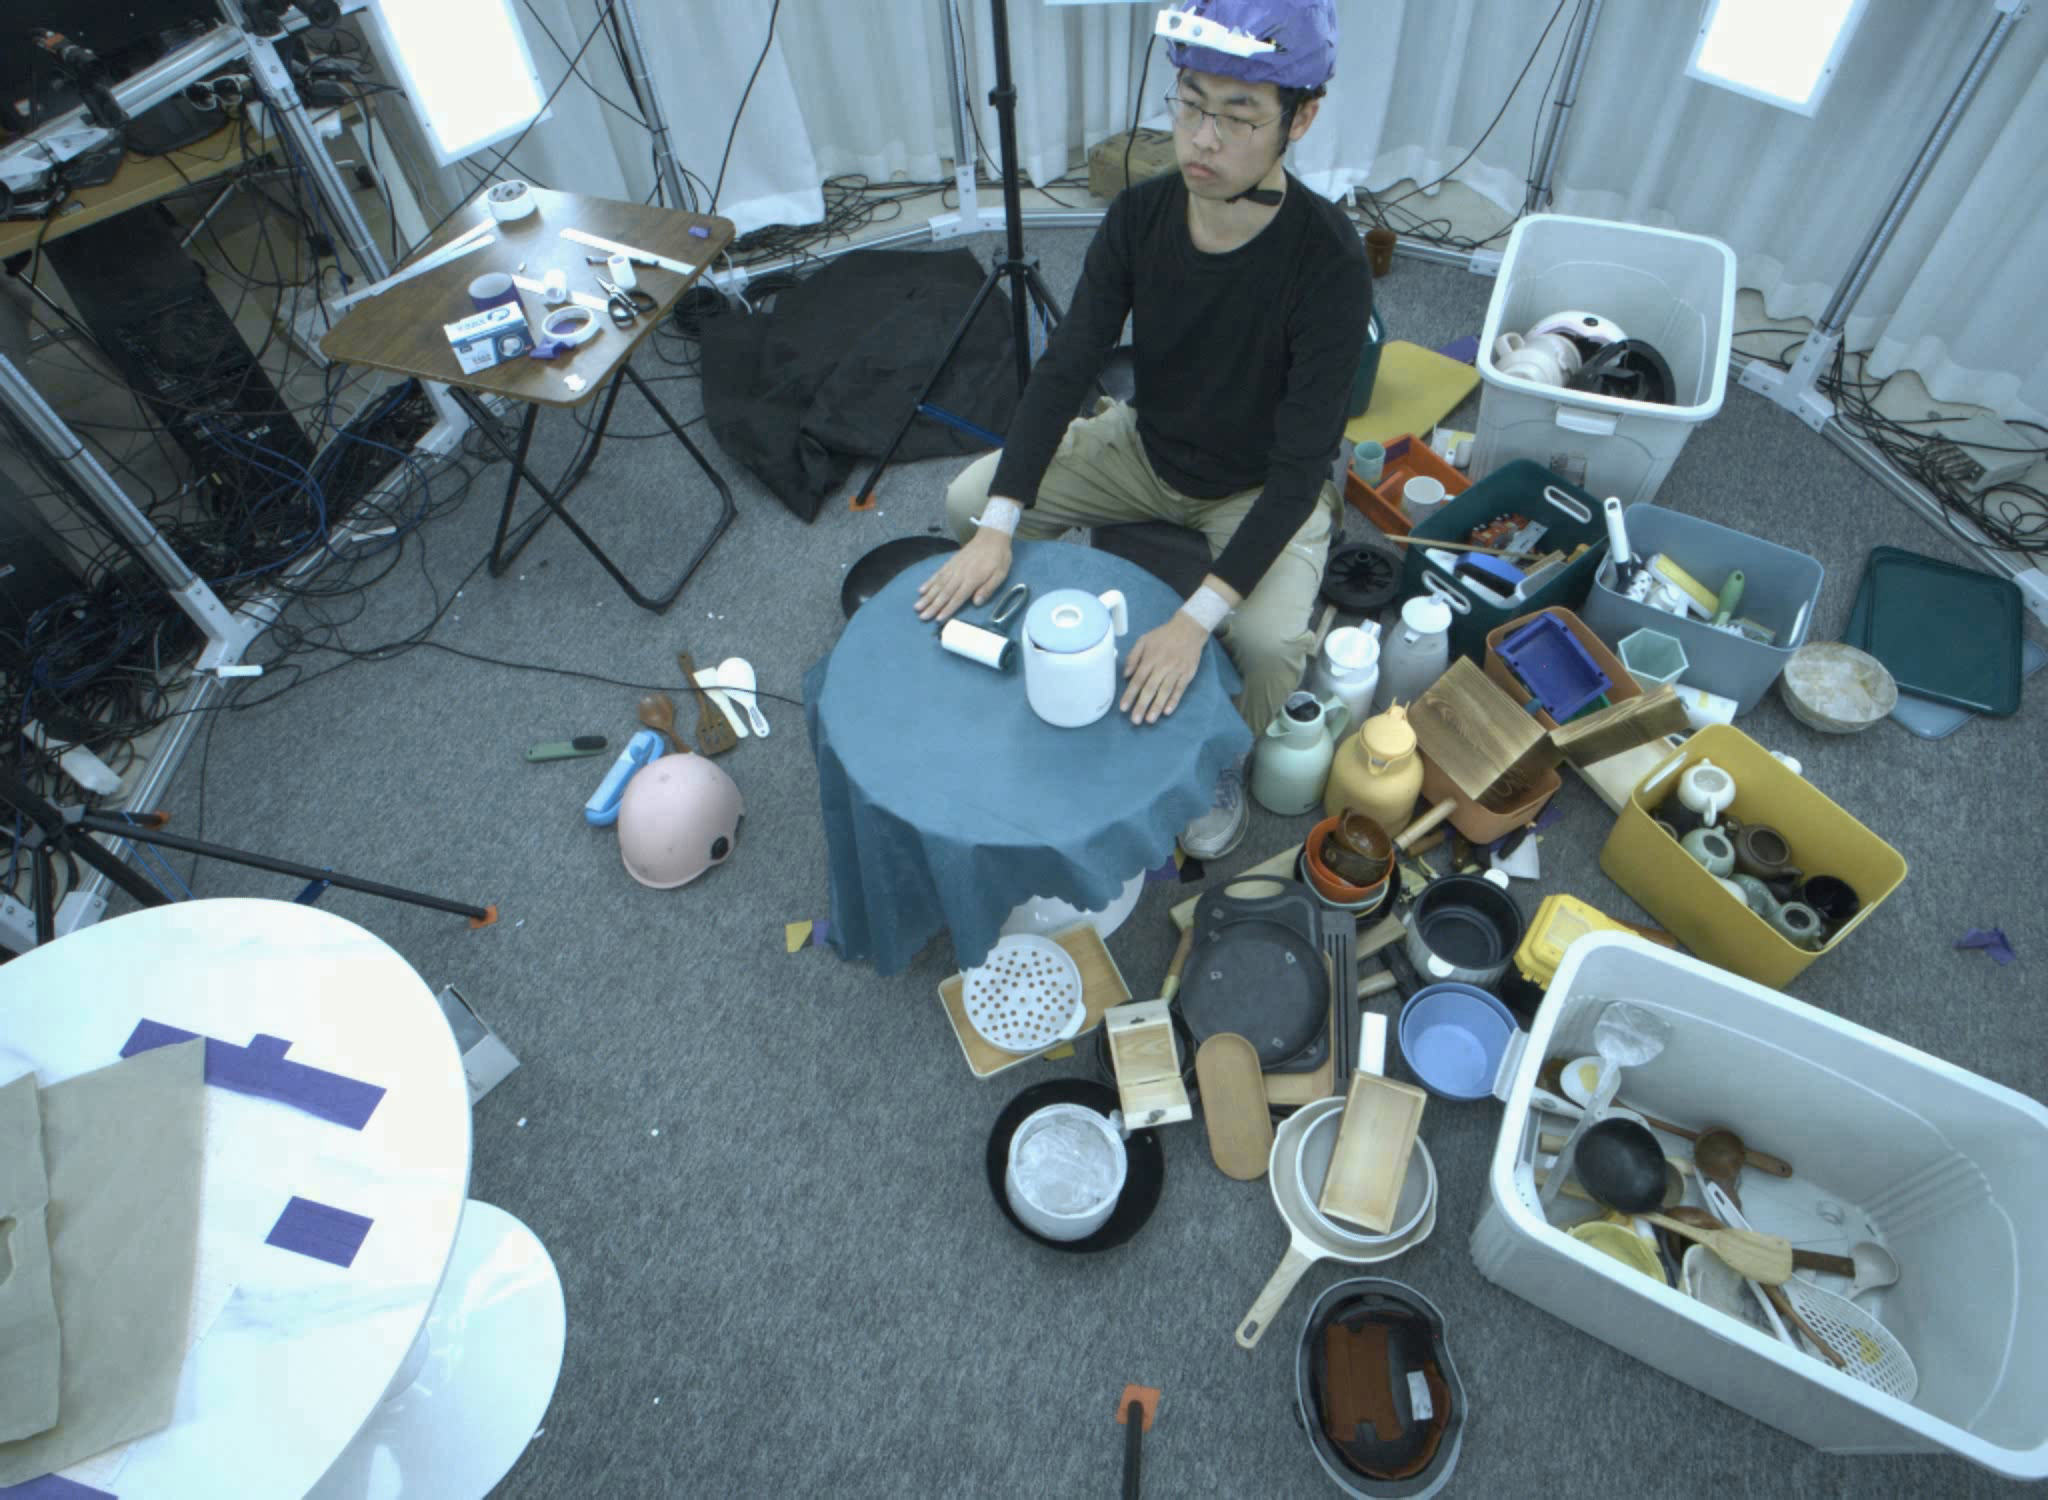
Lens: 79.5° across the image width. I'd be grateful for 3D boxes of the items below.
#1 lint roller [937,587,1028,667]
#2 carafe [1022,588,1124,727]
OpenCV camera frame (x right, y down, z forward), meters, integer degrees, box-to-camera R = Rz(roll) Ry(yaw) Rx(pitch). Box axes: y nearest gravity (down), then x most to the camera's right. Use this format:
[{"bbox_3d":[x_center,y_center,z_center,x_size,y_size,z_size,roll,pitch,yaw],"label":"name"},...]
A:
[{"bbox_3d":[-0.042,-0.211,1.912,0.132,0.049,0.180,22,55,17],"label":"lint roller"},{"bbox_3d":[0.081,-0.147,1.783,0.130,0.184,0.192,36,62,24],"label":"carafe"}]
